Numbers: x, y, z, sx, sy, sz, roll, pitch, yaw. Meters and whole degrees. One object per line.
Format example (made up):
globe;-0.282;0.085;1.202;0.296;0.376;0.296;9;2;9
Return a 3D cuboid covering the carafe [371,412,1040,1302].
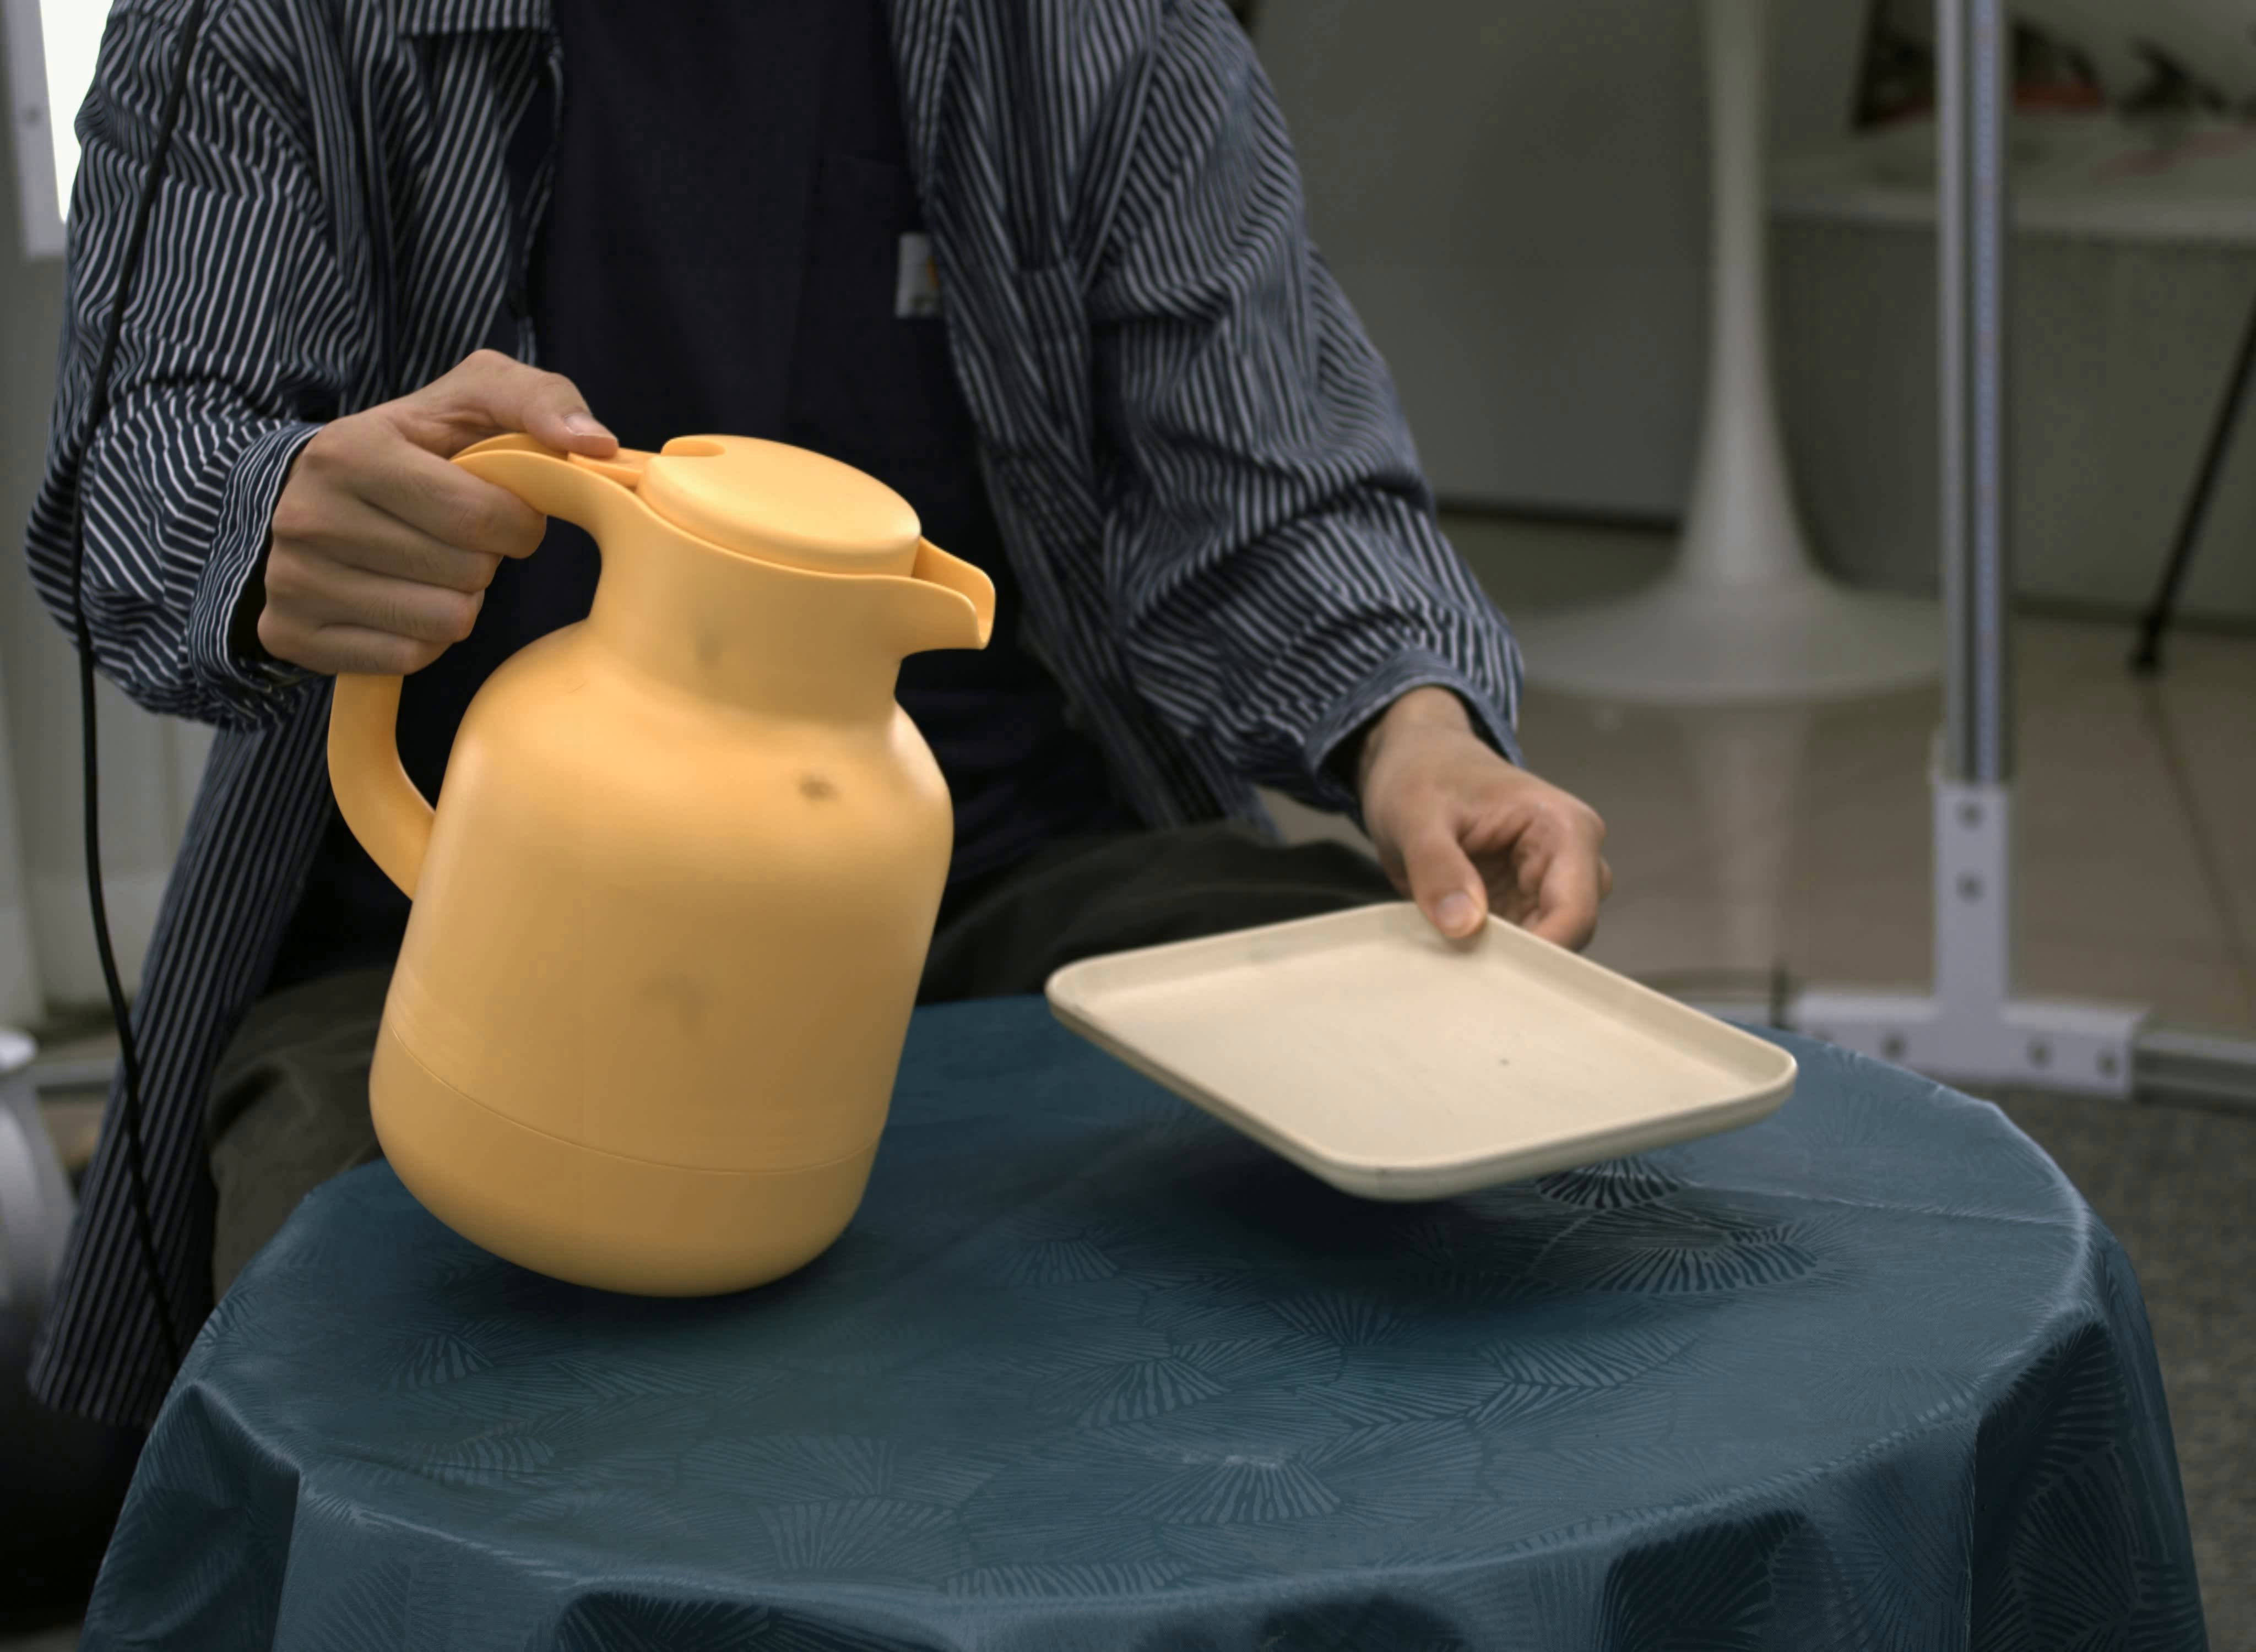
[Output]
carafe;-0.141;0.000;1.696;0.201;0.263;0.163;18;18;6

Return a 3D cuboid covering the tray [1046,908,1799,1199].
tray;0.091;0.072;1.727;0.167;0.017;0.242;-10;17;-25
